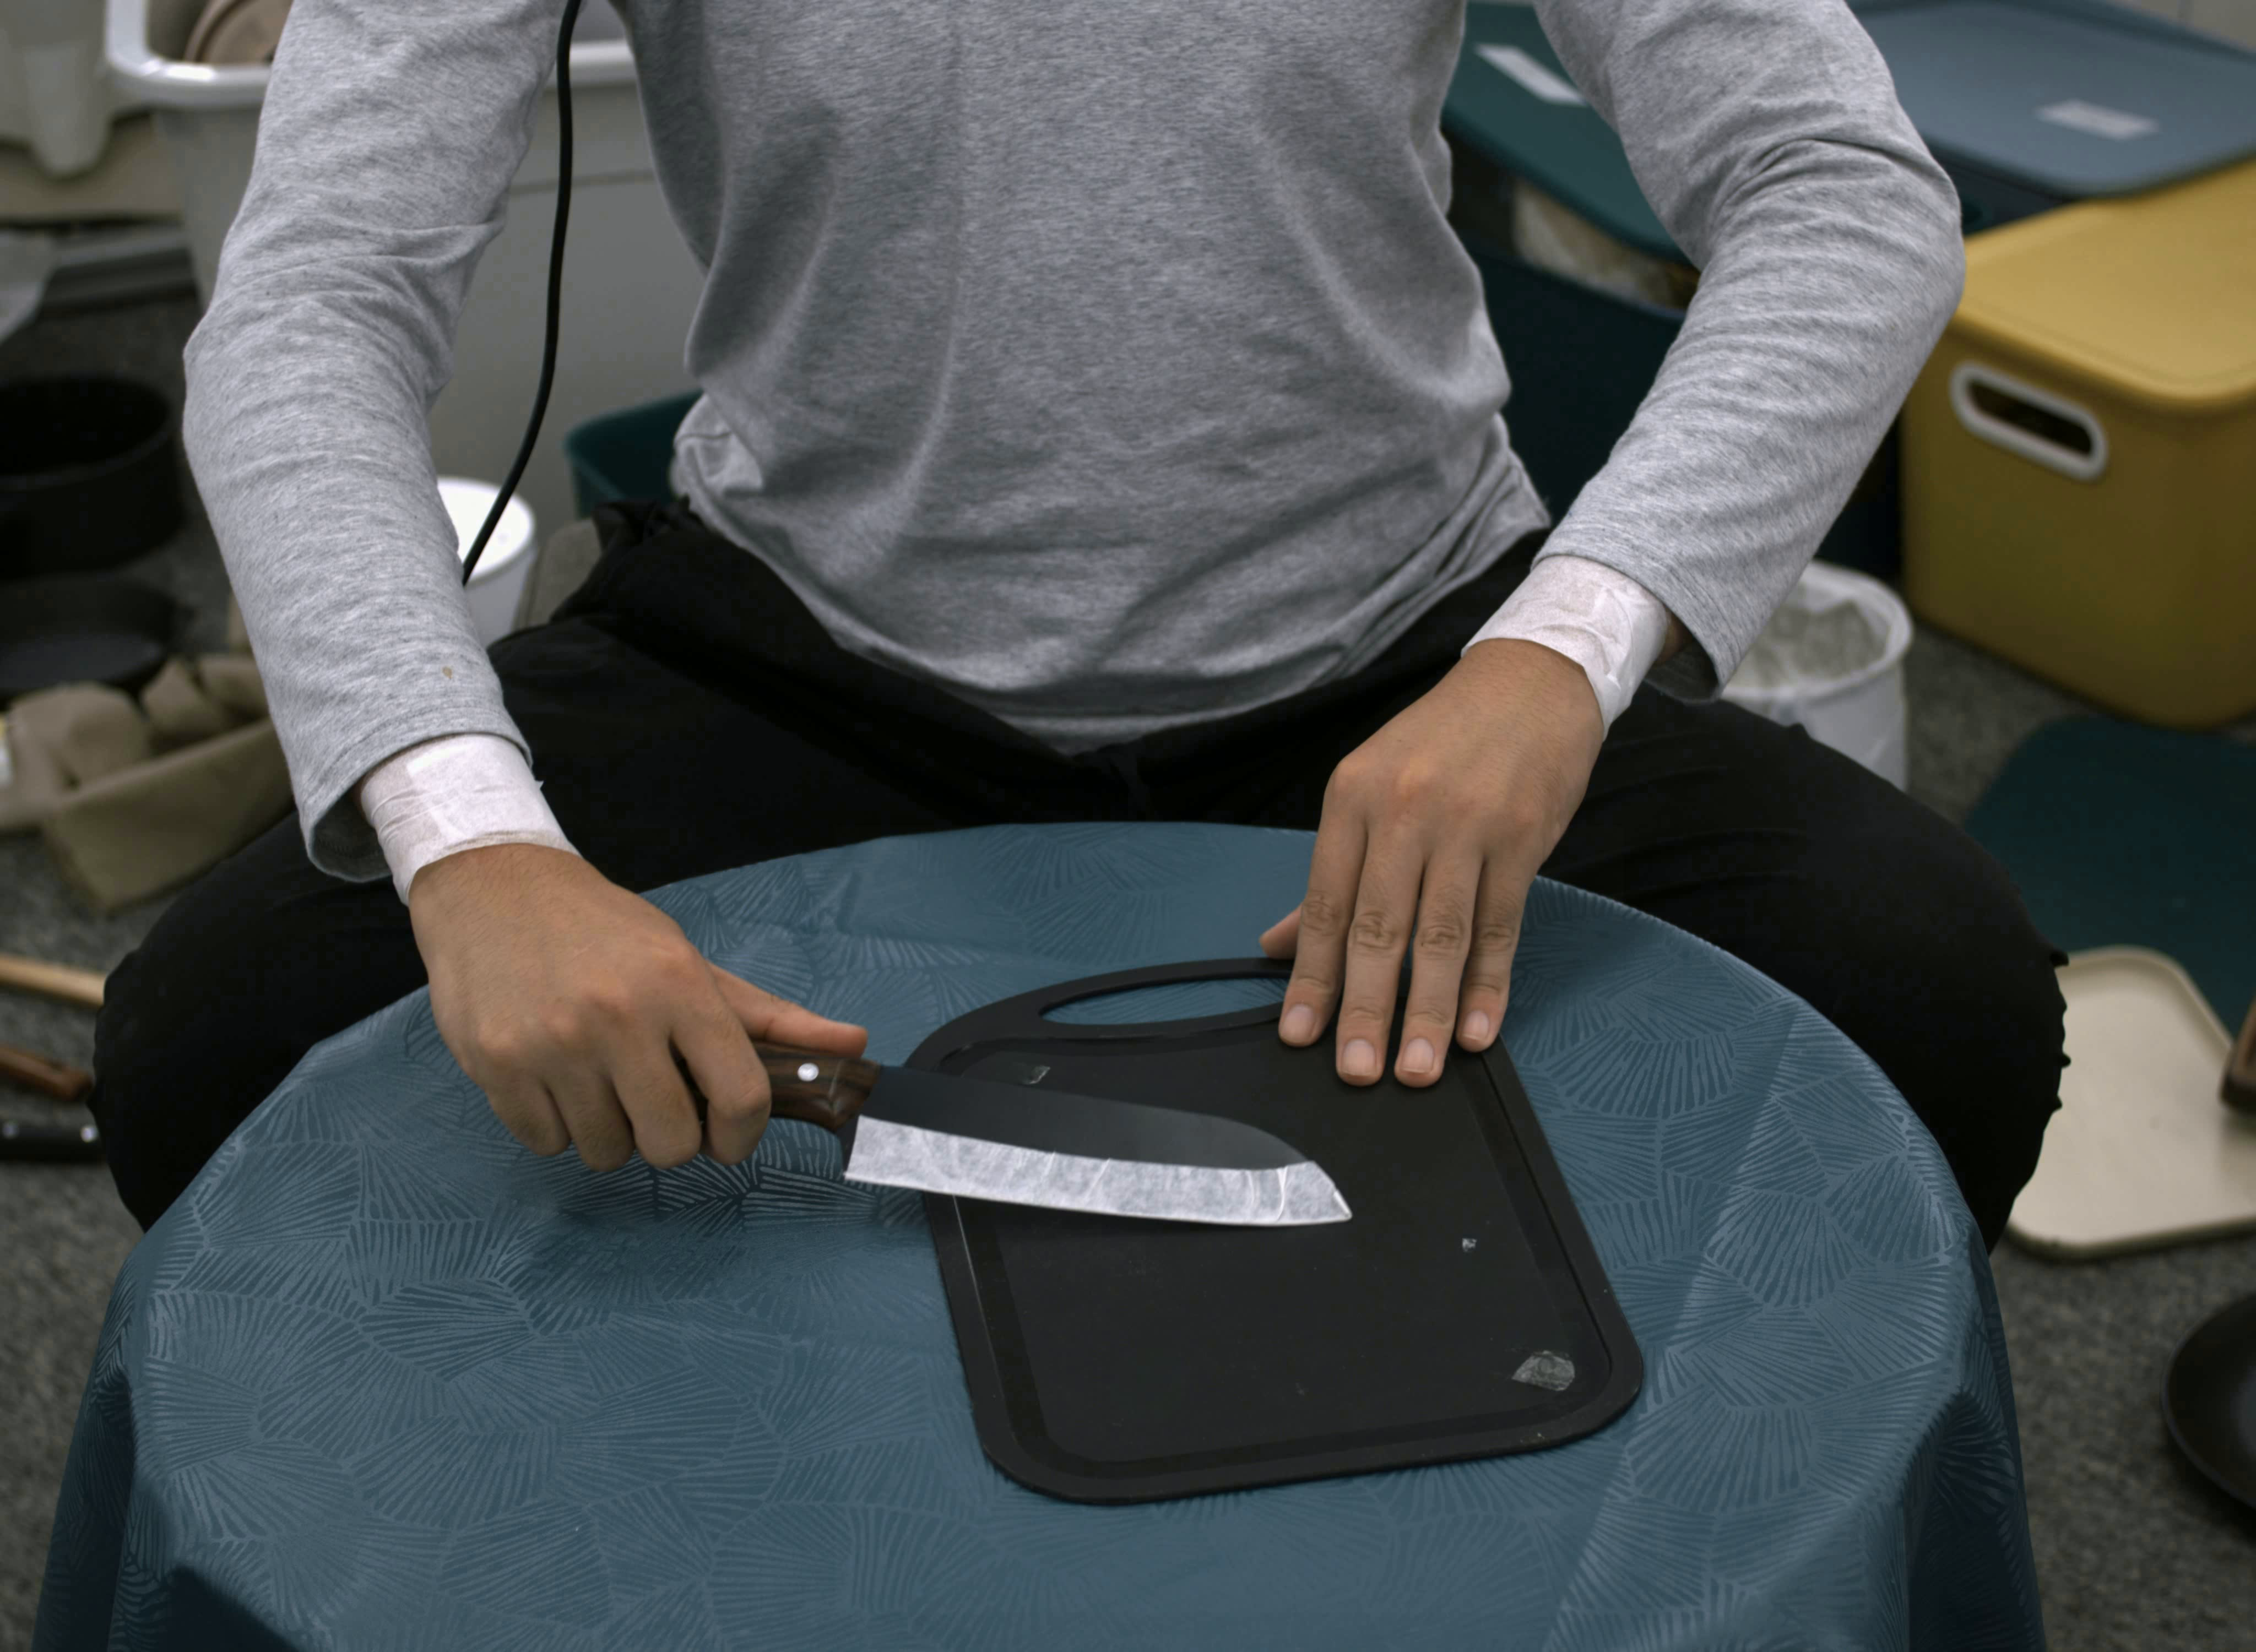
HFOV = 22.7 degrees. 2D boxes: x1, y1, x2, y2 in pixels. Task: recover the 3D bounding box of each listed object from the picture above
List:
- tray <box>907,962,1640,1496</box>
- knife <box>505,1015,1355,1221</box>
[{"bbox_3d":[0.039,0.123,1.849,0.210,0.009,0.329,-6,27,-6],"label":"tray"},{"bbox_3d":[-0.066,0.098,1.851,0.288,0.020,0.051,10,59,4],"label":"knife"}]
